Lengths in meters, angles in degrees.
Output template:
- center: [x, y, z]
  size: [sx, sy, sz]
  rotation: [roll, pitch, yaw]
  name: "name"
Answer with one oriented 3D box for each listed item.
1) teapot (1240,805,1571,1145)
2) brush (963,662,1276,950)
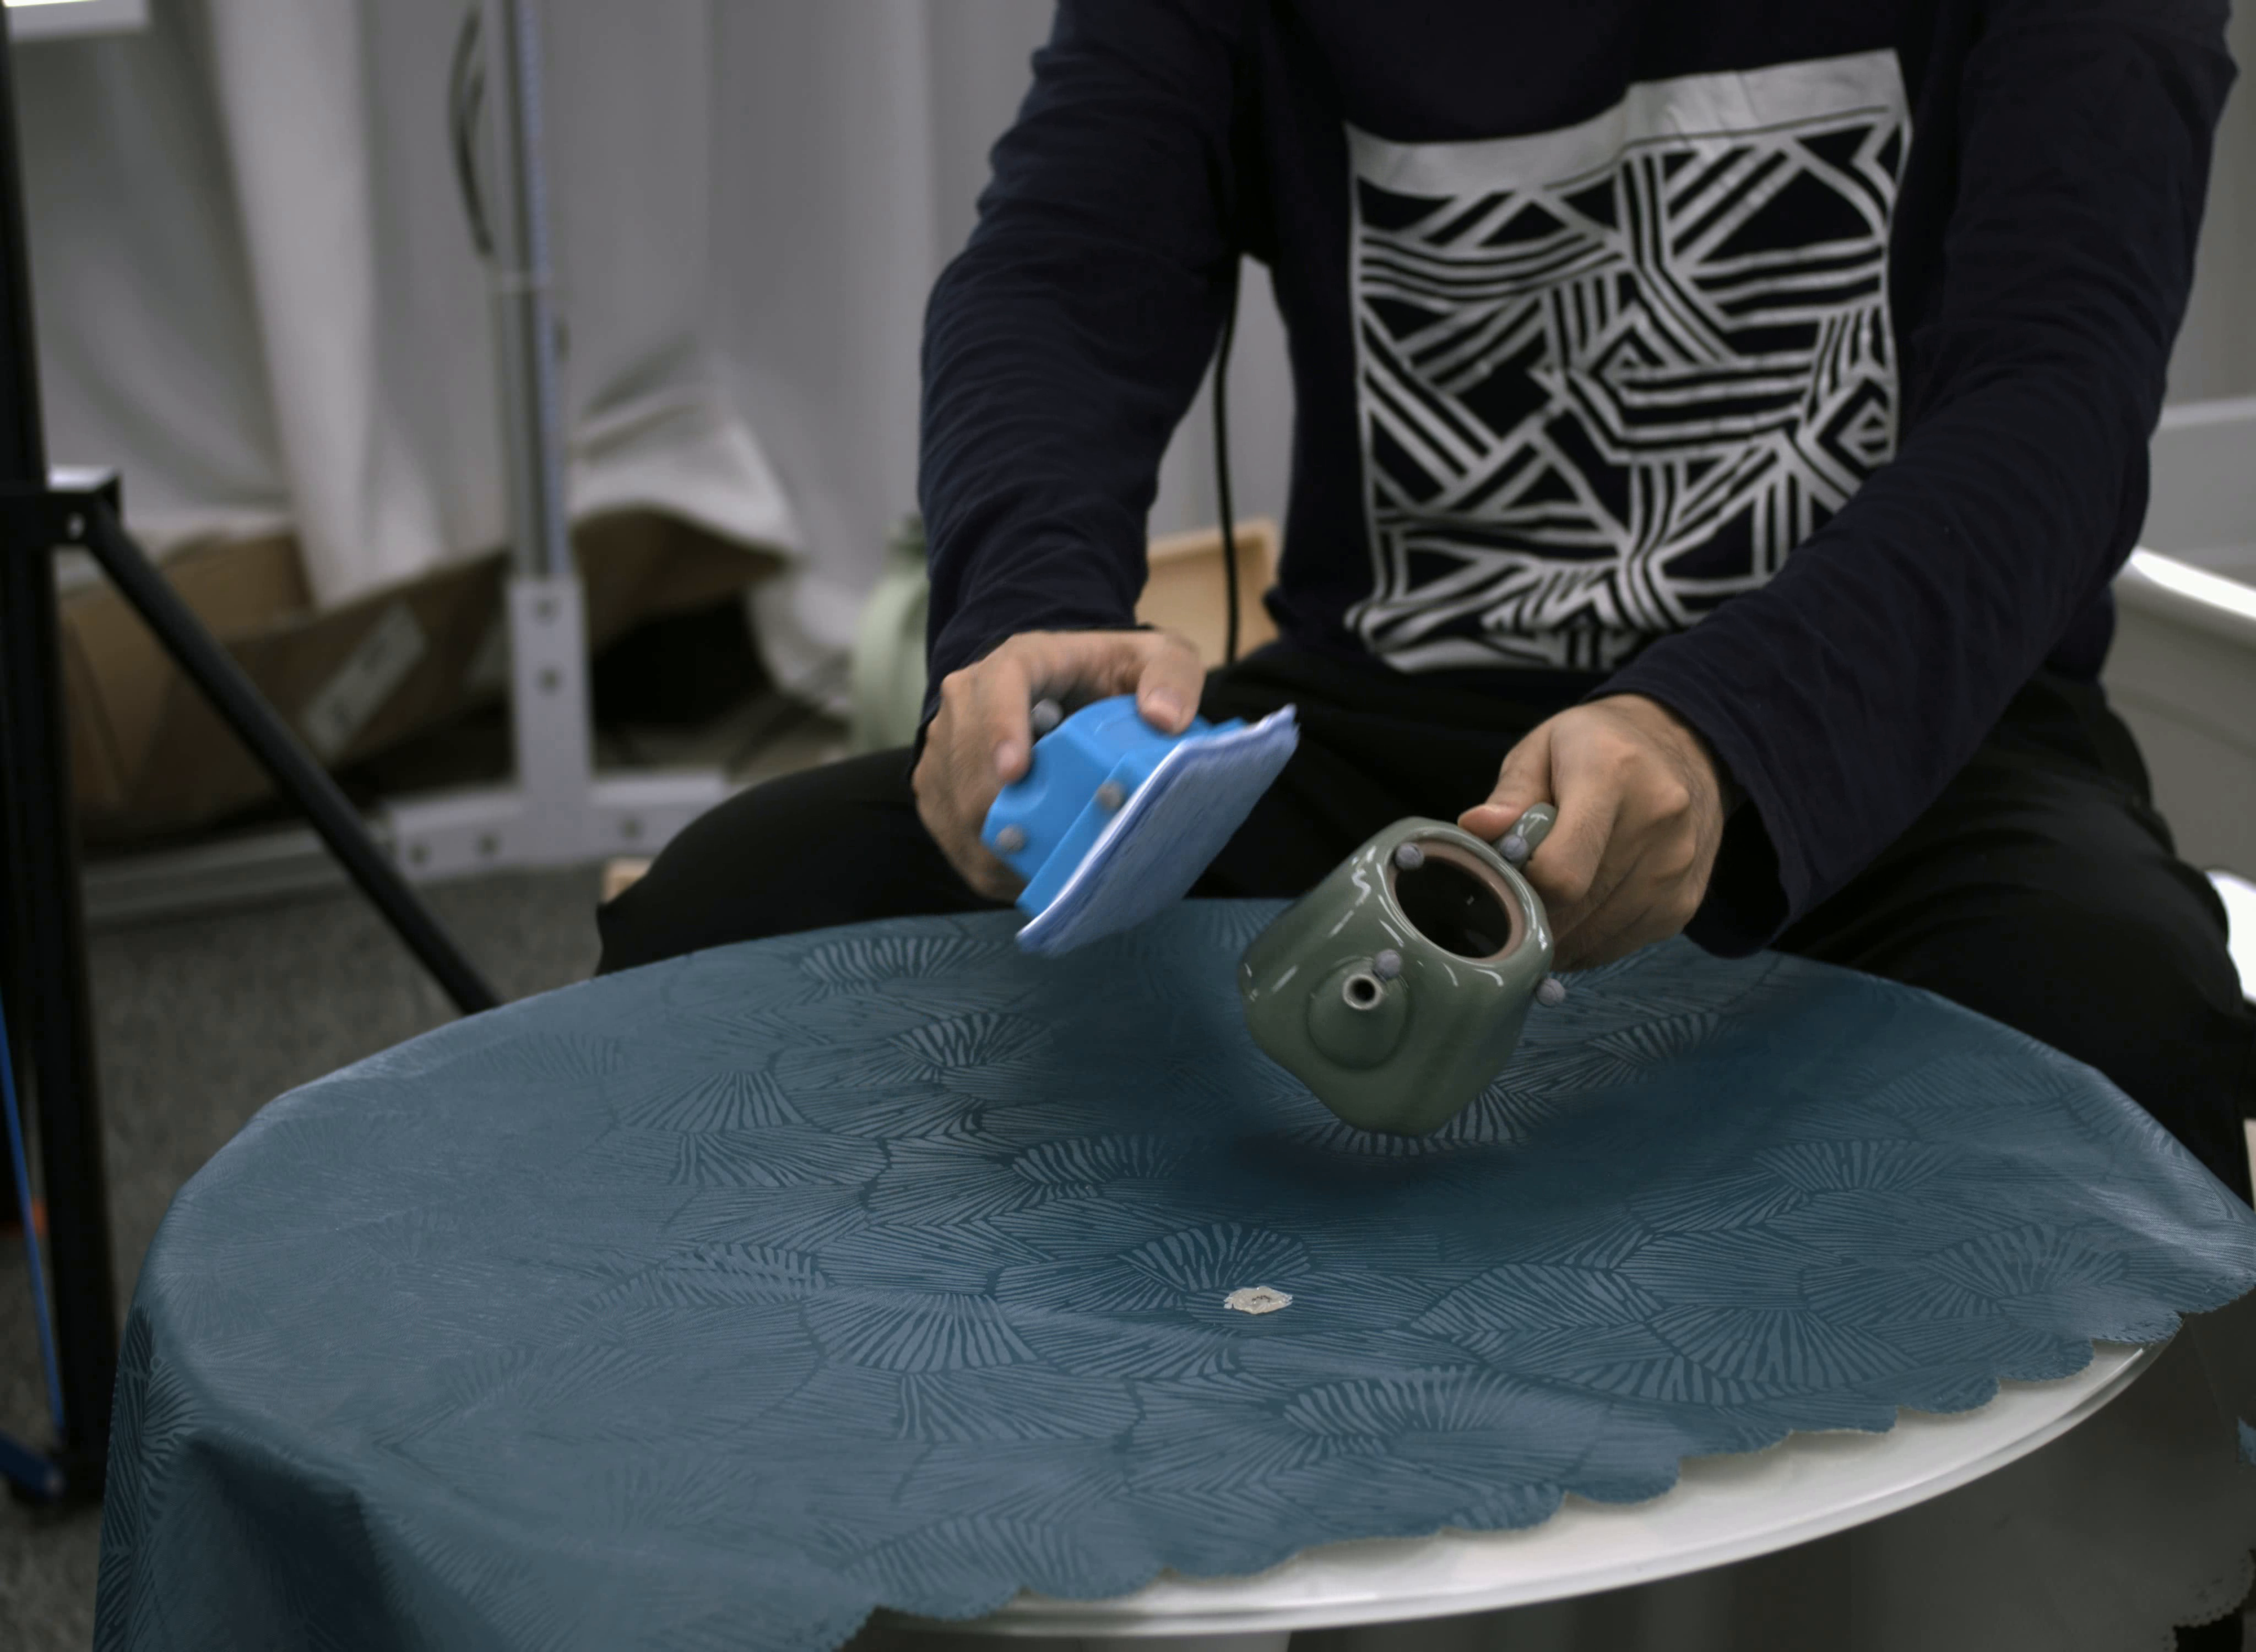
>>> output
- center: [0.084, 0.043, 1.556]
  size: [0.080, 0.075, 0.130]
  rotation: [40, 40, 10]
  name: "teapot"
- center: [-0.009, -0.010, 1.594]
  size: [0.056, 0.084, 0.142]
  rotation: [43, 19, 5]
  name: "brush"
